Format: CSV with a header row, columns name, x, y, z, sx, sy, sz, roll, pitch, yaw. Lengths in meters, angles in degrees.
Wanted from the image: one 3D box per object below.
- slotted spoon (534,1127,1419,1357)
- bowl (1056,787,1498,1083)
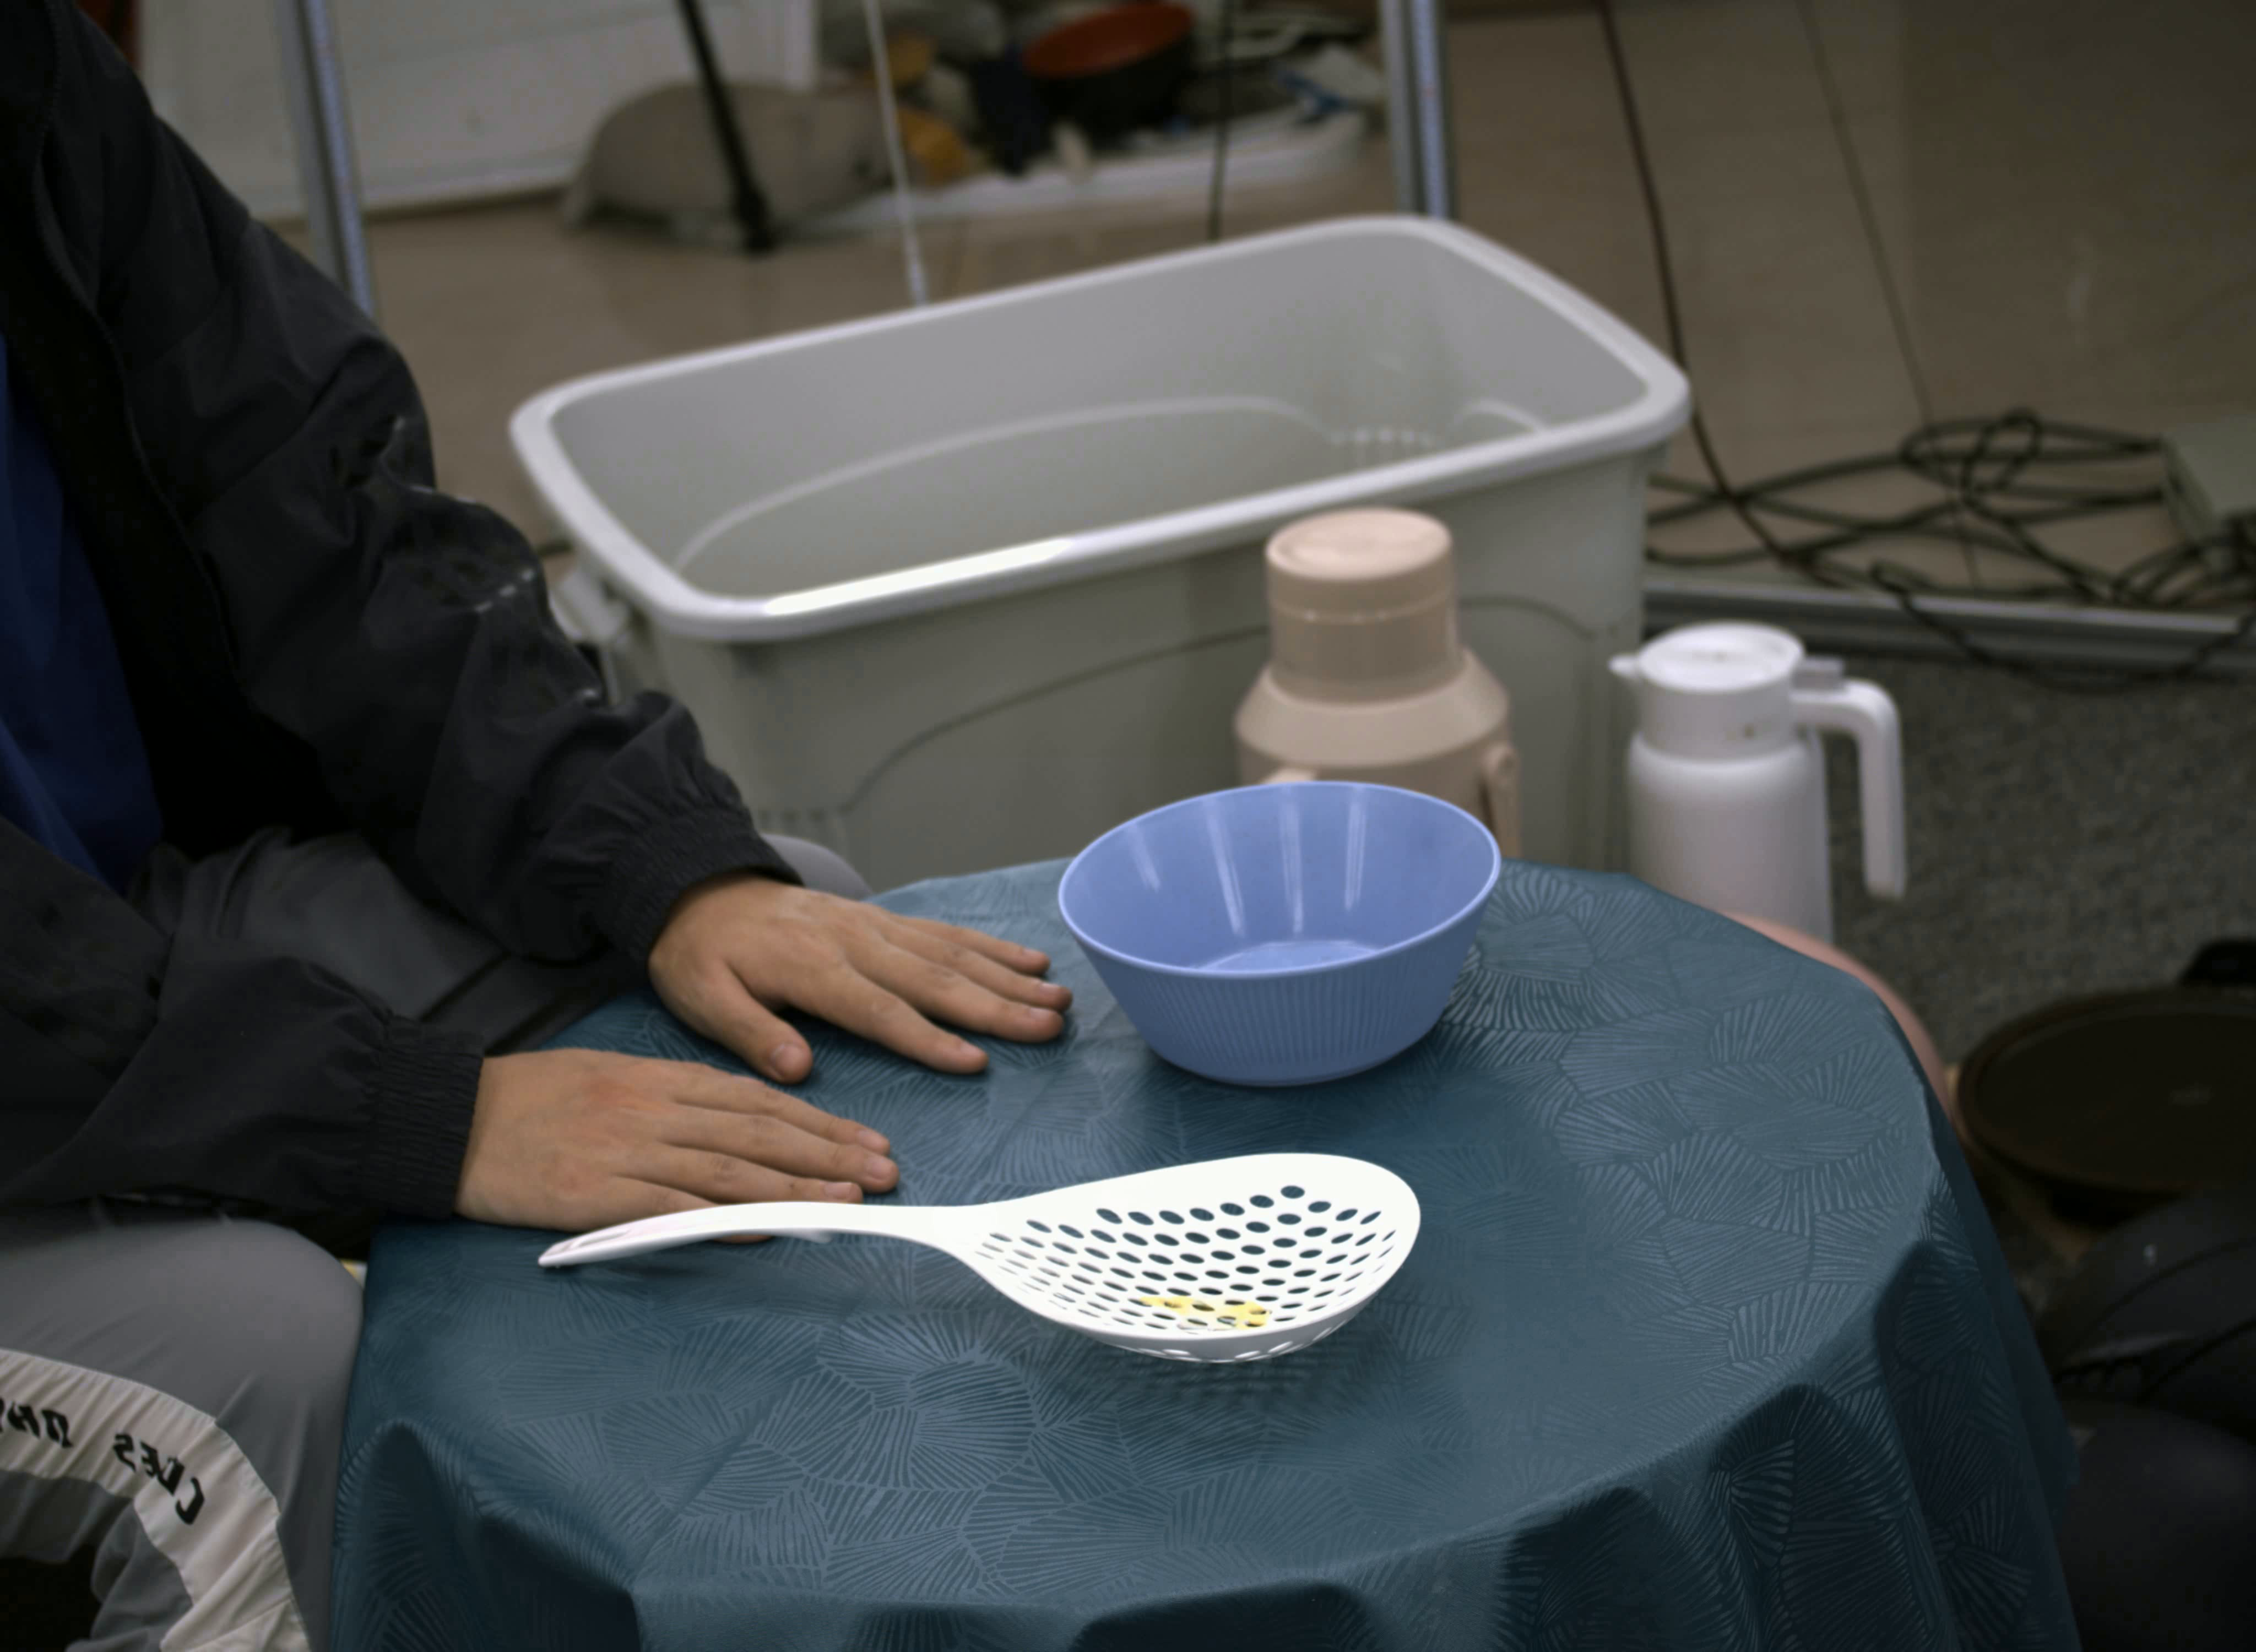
name,x,y,z,sx,sy,sz,roll,pitch,yaw
slotted spoon,-0.061,0.156,2.074,0.347,0.051,0.135,3,30,21
bowl,0.061,0.048,2.243,0.176,0.071,0.173,-5,24,2
